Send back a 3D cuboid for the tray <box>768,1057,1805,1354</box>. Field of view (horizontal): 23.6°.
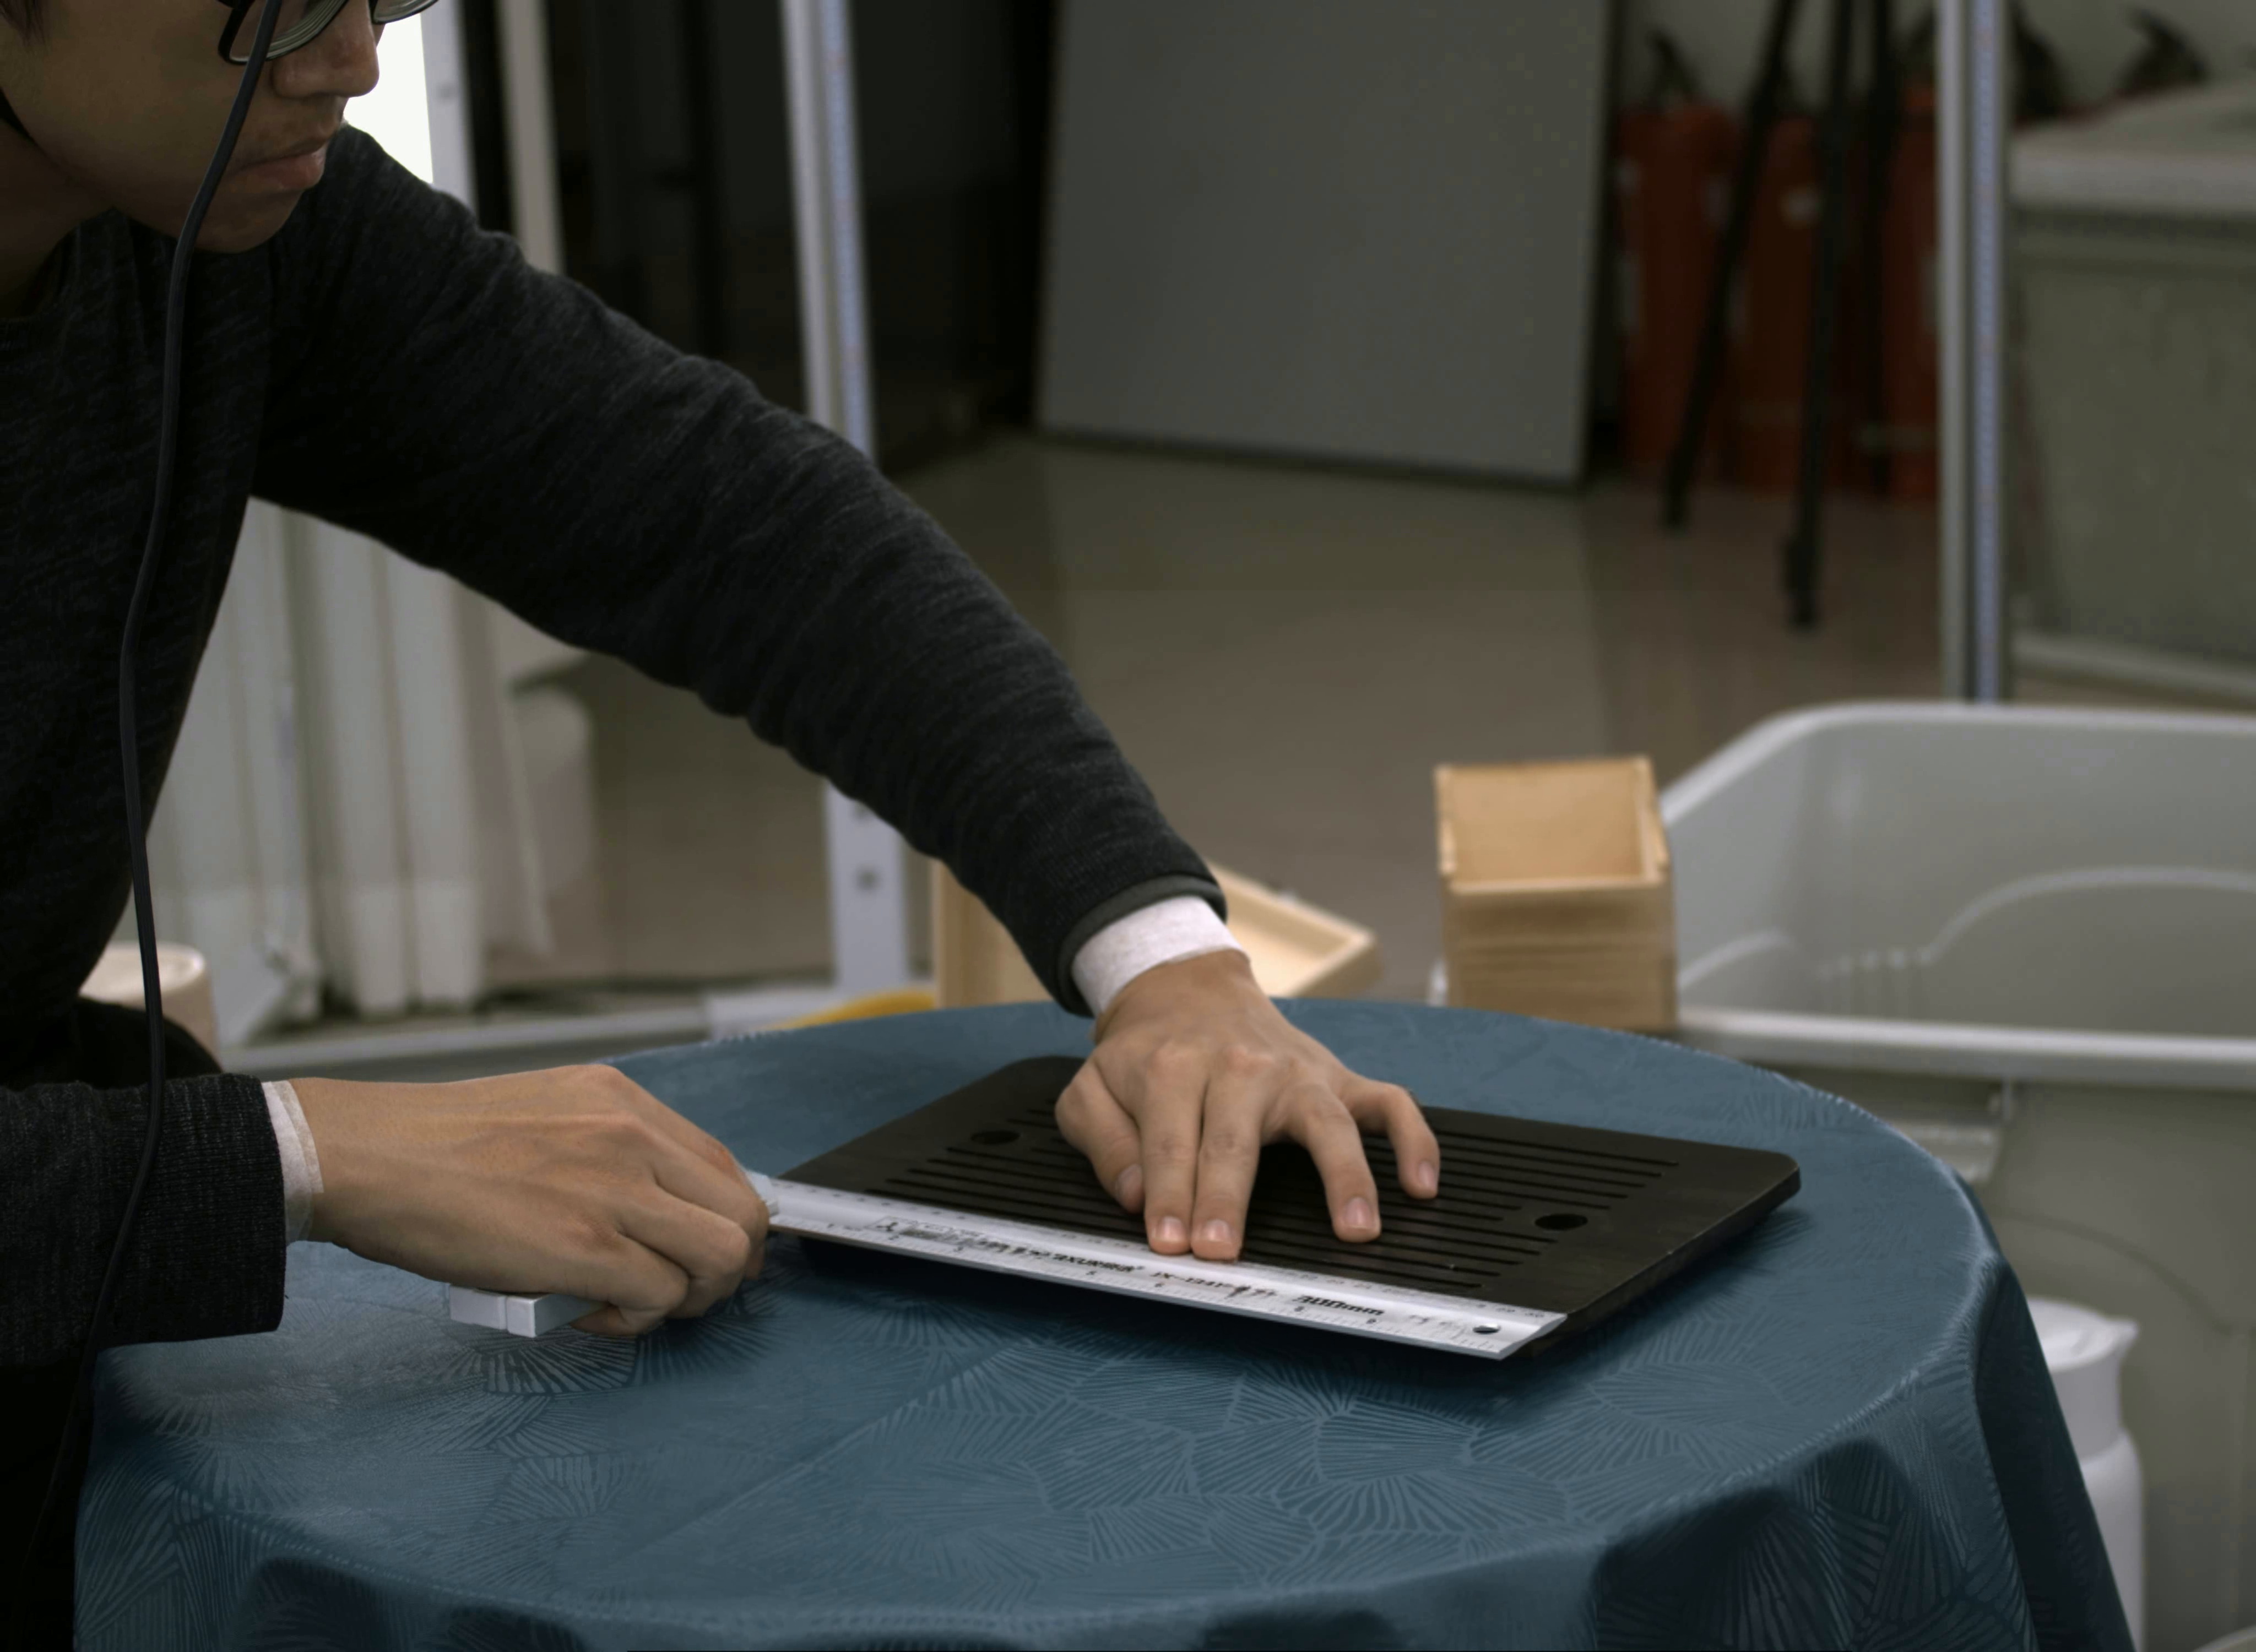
[{"bbox_3d":[0.049,0.119,1.726,0.308,0.019,0.167,5,17,35],"label":"tray"}]

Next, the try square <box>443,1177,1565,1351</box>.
[{"bbox_3d":[-0.040,0.143,1.606,0.315,0.016,0.149,6,14,36],"label":"try square"}]
